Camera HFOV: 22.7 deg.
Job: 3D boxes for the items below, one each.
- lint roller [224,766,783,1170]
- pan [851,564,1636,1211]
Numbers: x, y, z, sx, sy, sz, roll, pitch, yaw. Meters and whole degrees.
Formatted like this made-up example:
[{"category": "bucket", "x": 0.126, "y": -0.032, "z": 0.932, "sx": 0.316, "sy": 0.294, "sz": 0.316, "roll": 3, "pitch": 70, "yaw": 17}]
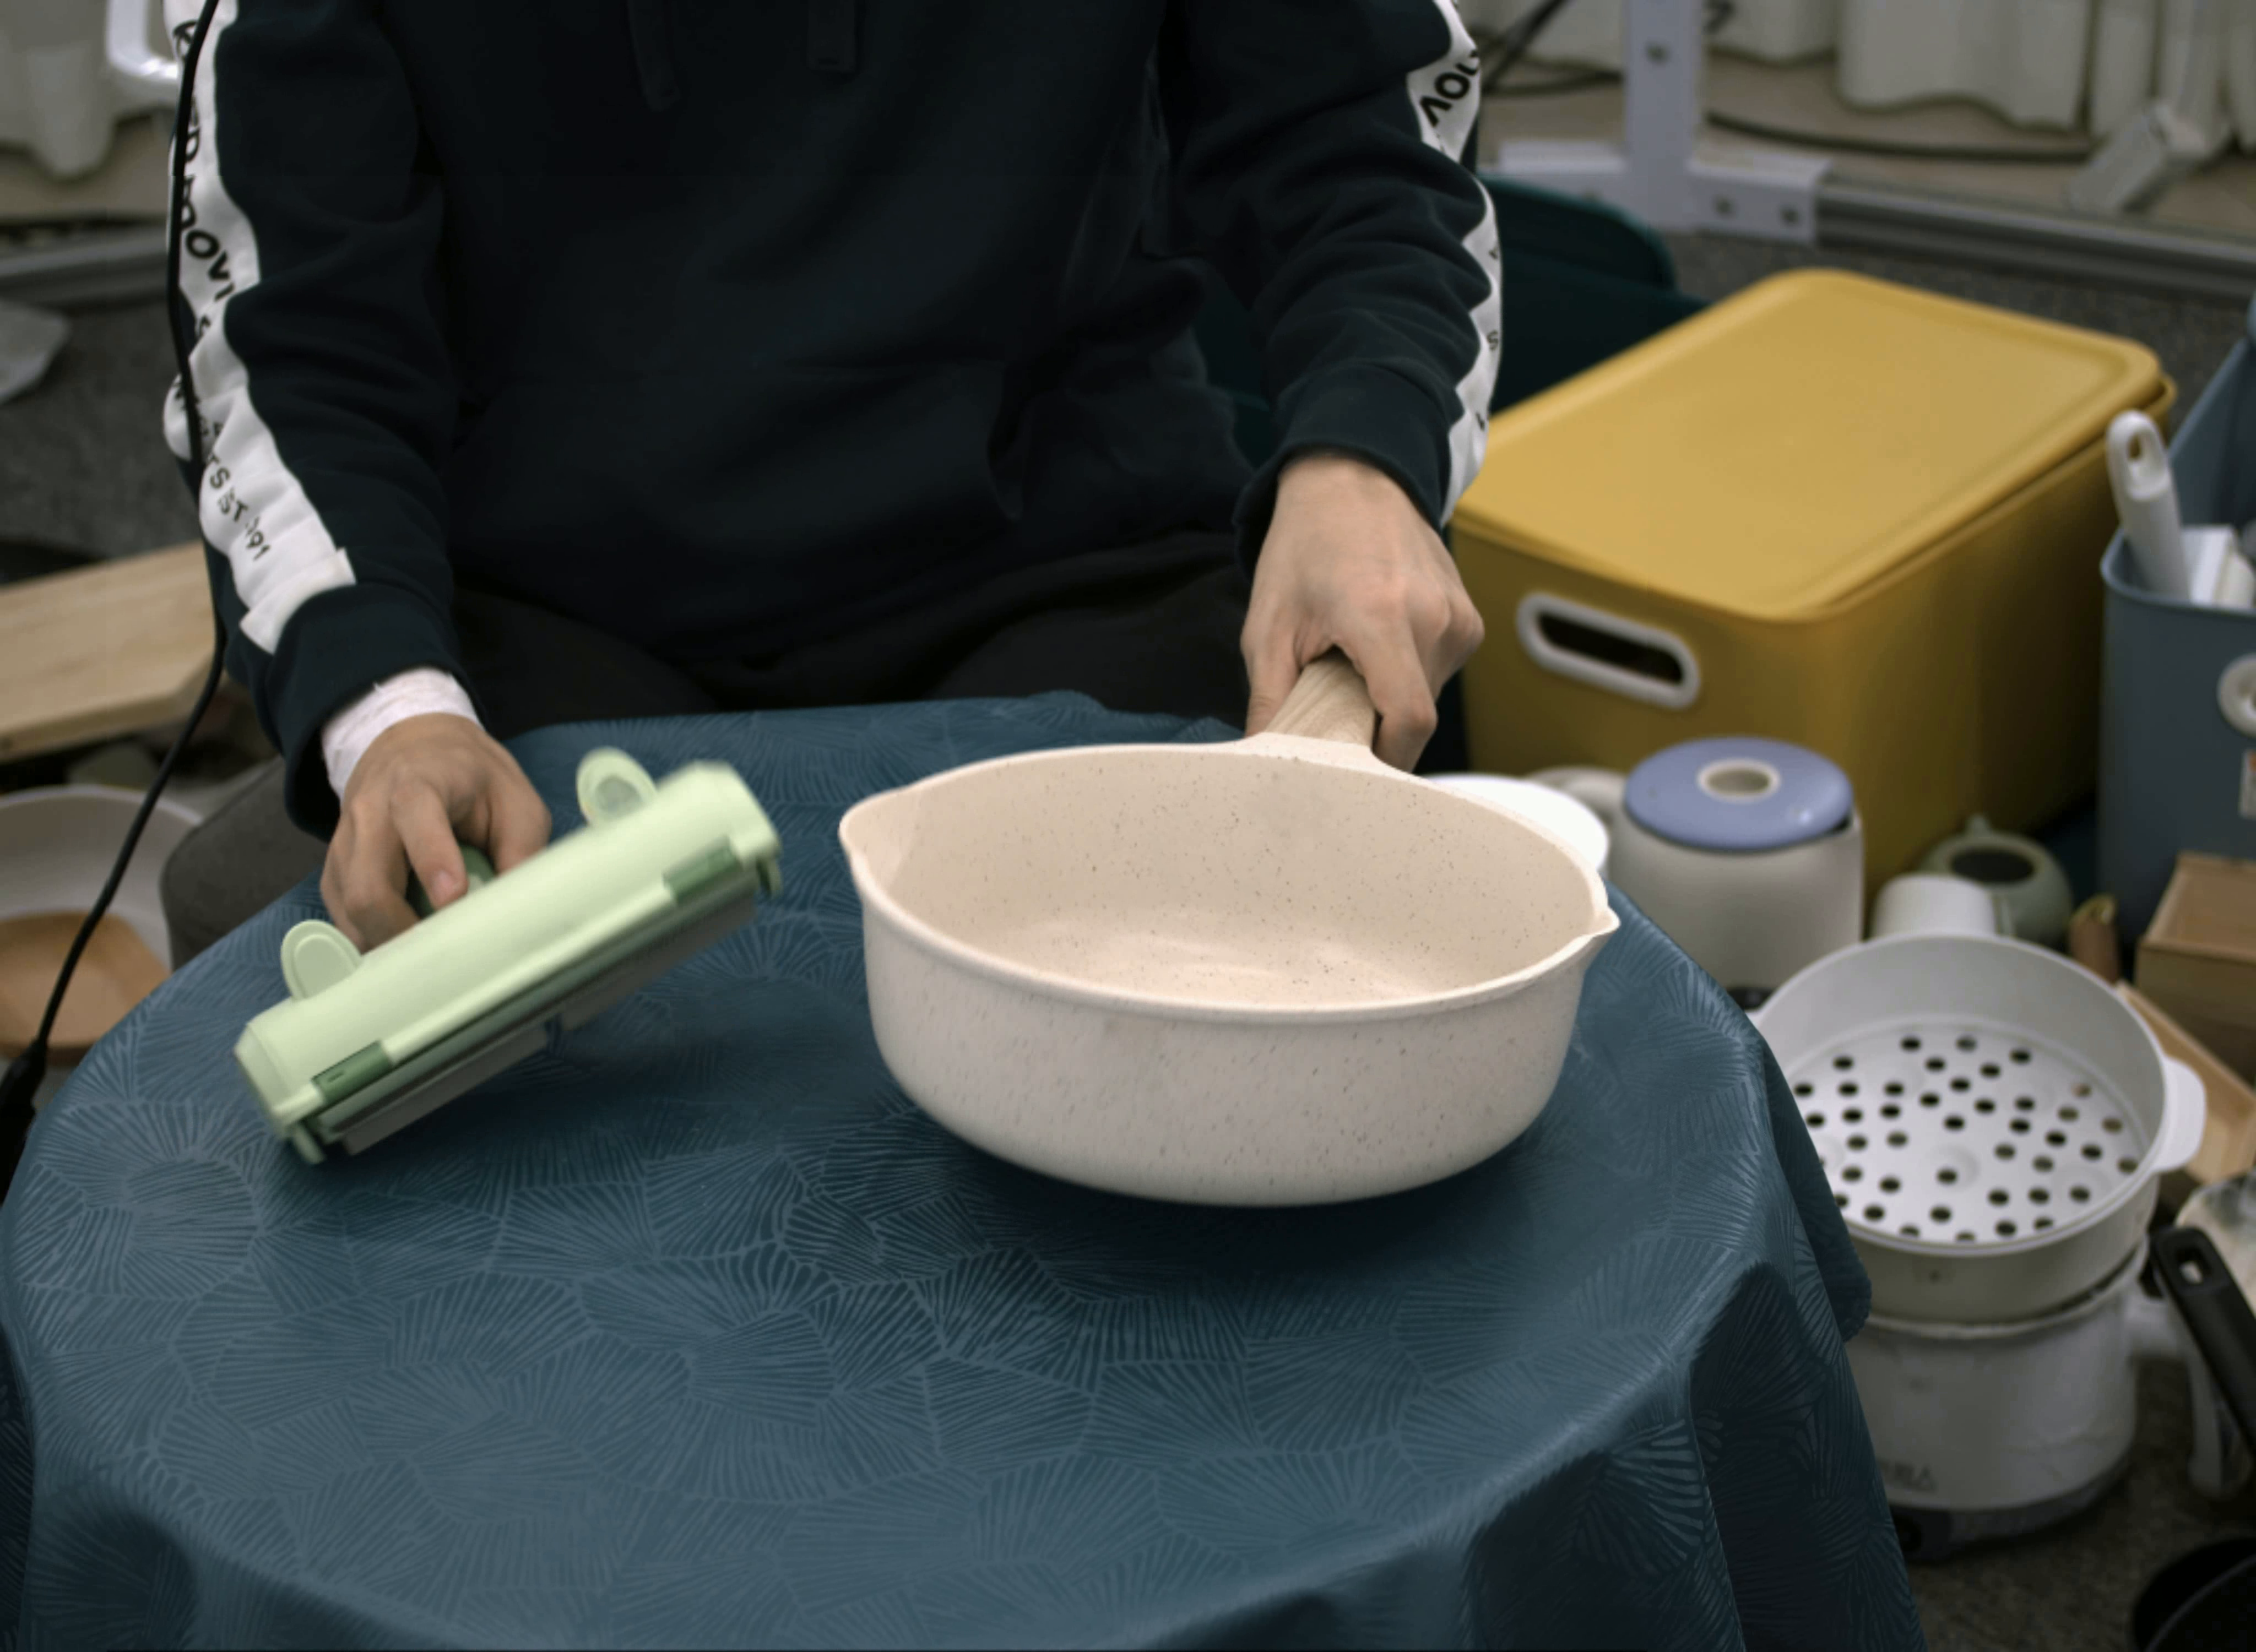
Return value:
[{"category": "lint roller", "x": -0.235, "y": 0.024, "z": 1.955, "sx": 0.199, "sy": 0.081, "sz": 0.184, "roll": -28, "pitch": 32, "yaw": -12}, {"category": "pan", "x": 0.057, "y": 0.018, "z": 1.949, "sx": 0.262, "sy": 0.101, "sz": 0.440, "roll": 6, "pitch": 19, "yaw": 11}]
